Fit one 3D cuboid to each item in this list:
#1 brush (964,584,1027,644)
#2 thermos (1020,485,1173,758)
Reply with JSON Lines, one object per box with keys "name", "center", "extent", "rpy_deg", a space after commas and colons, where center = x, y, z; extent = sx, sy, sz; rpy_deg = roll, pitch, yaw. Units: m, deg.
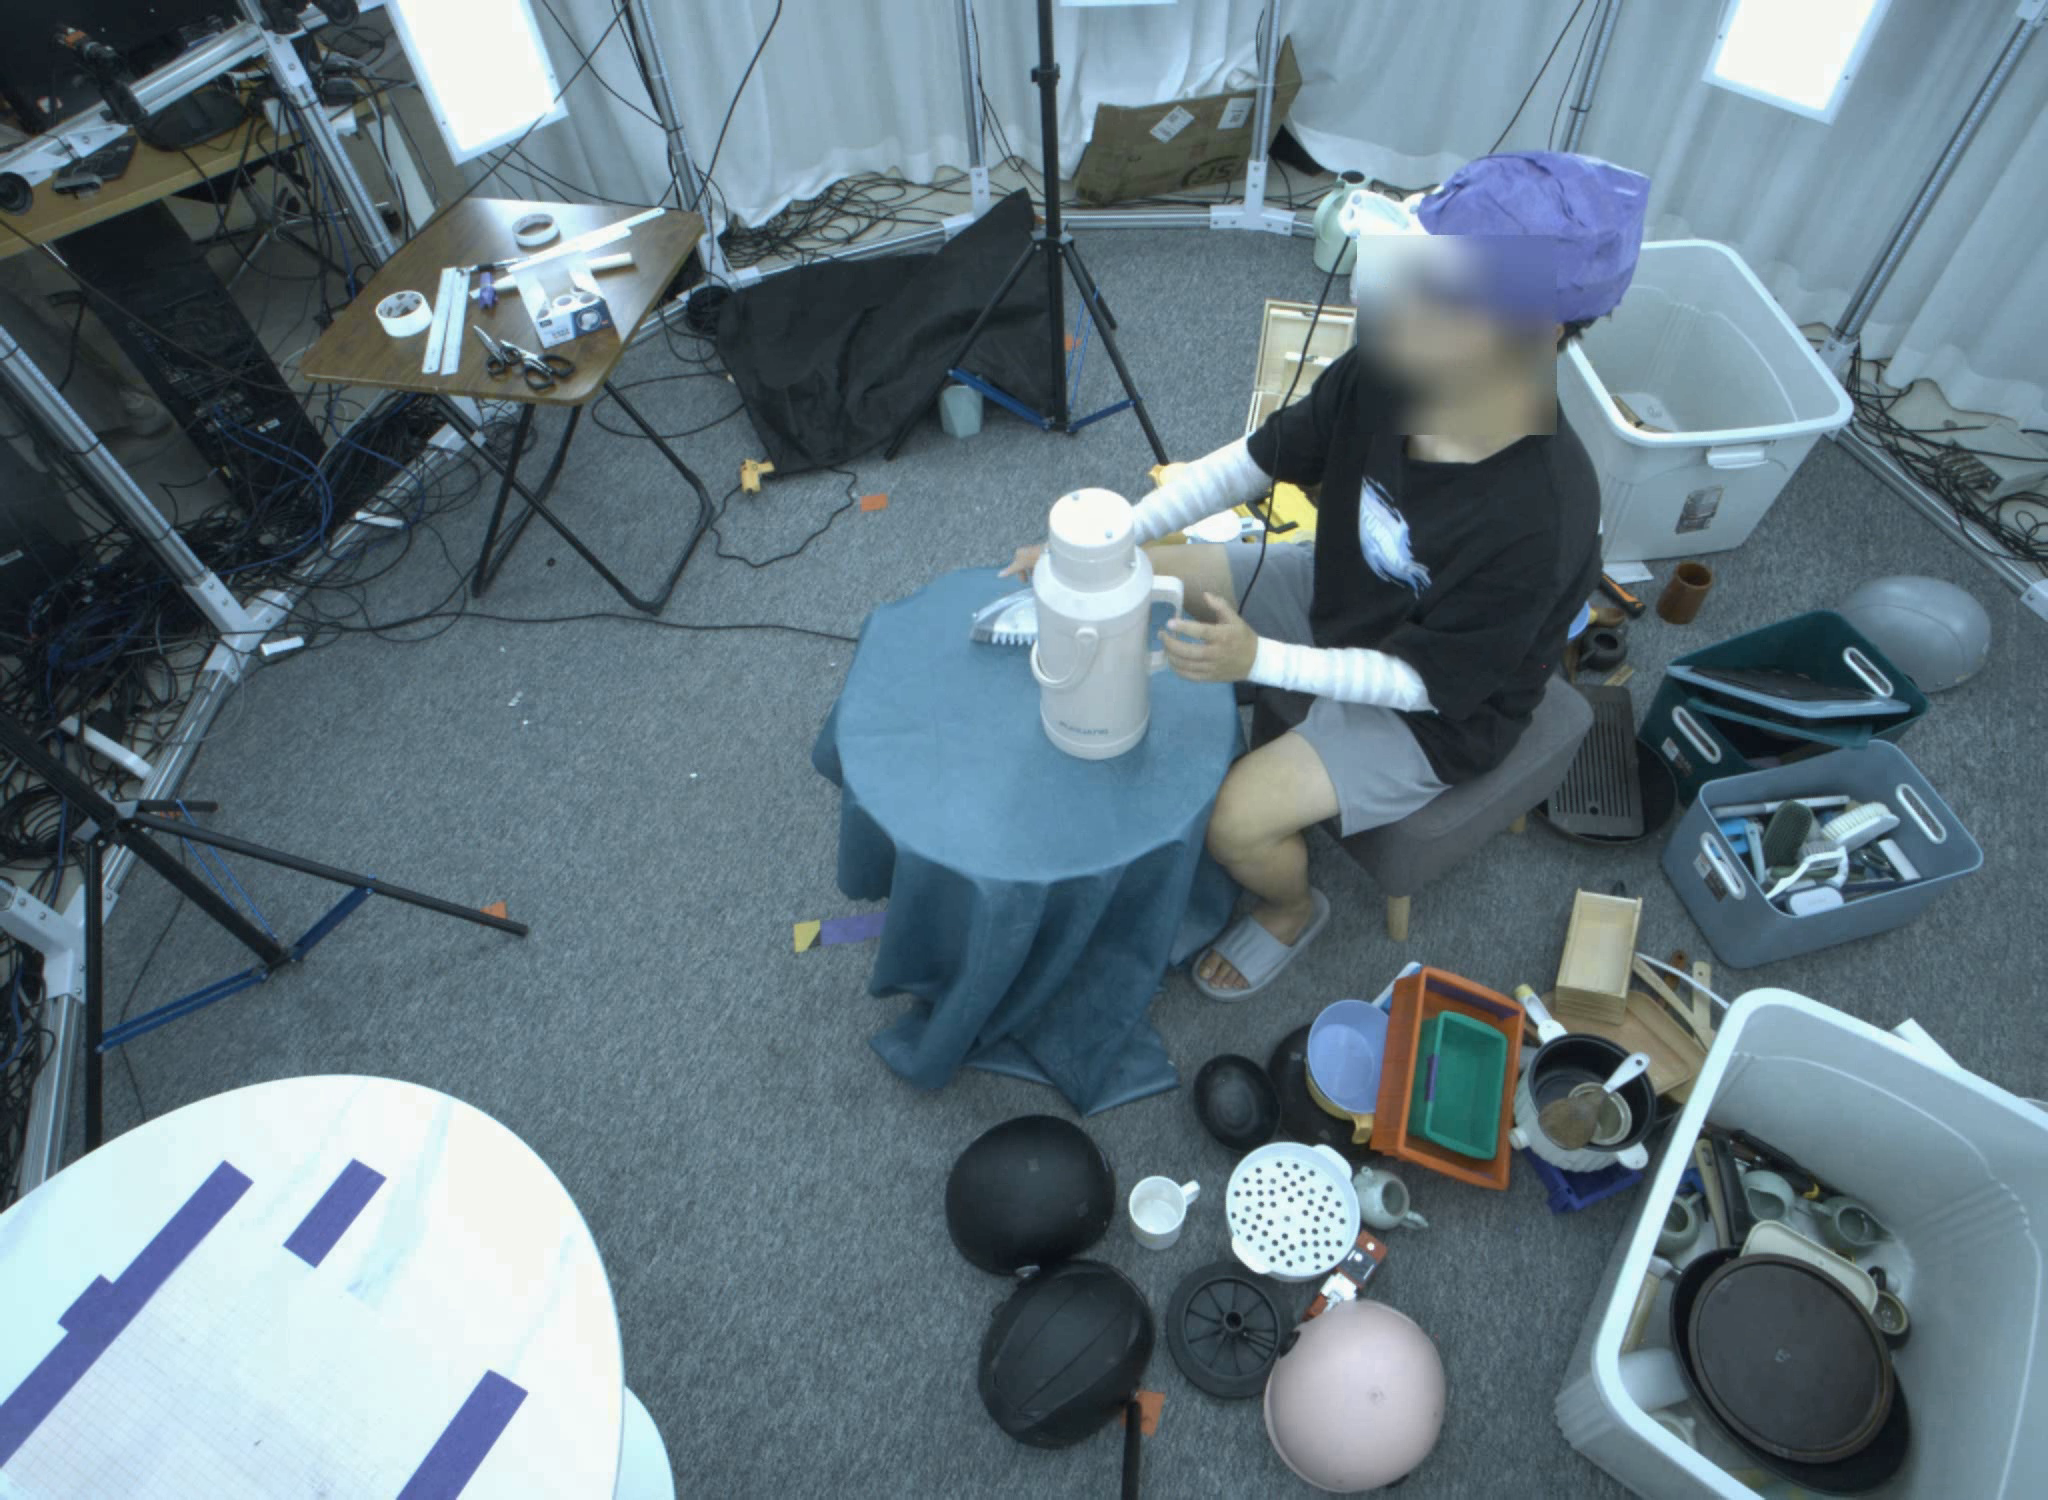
{"name": "brush", "center": [-0.011, -0.210, 1.871], "extent": [0.175, 0.095, 0.060], "rpy_deg": [-8, 52, 0]}
{"name": "thermos", "center": [0.093, -0.167, 1.649], "extent": [0.206, 0.411, 0.174], "rpy_deg": [3, 53, 6]}
